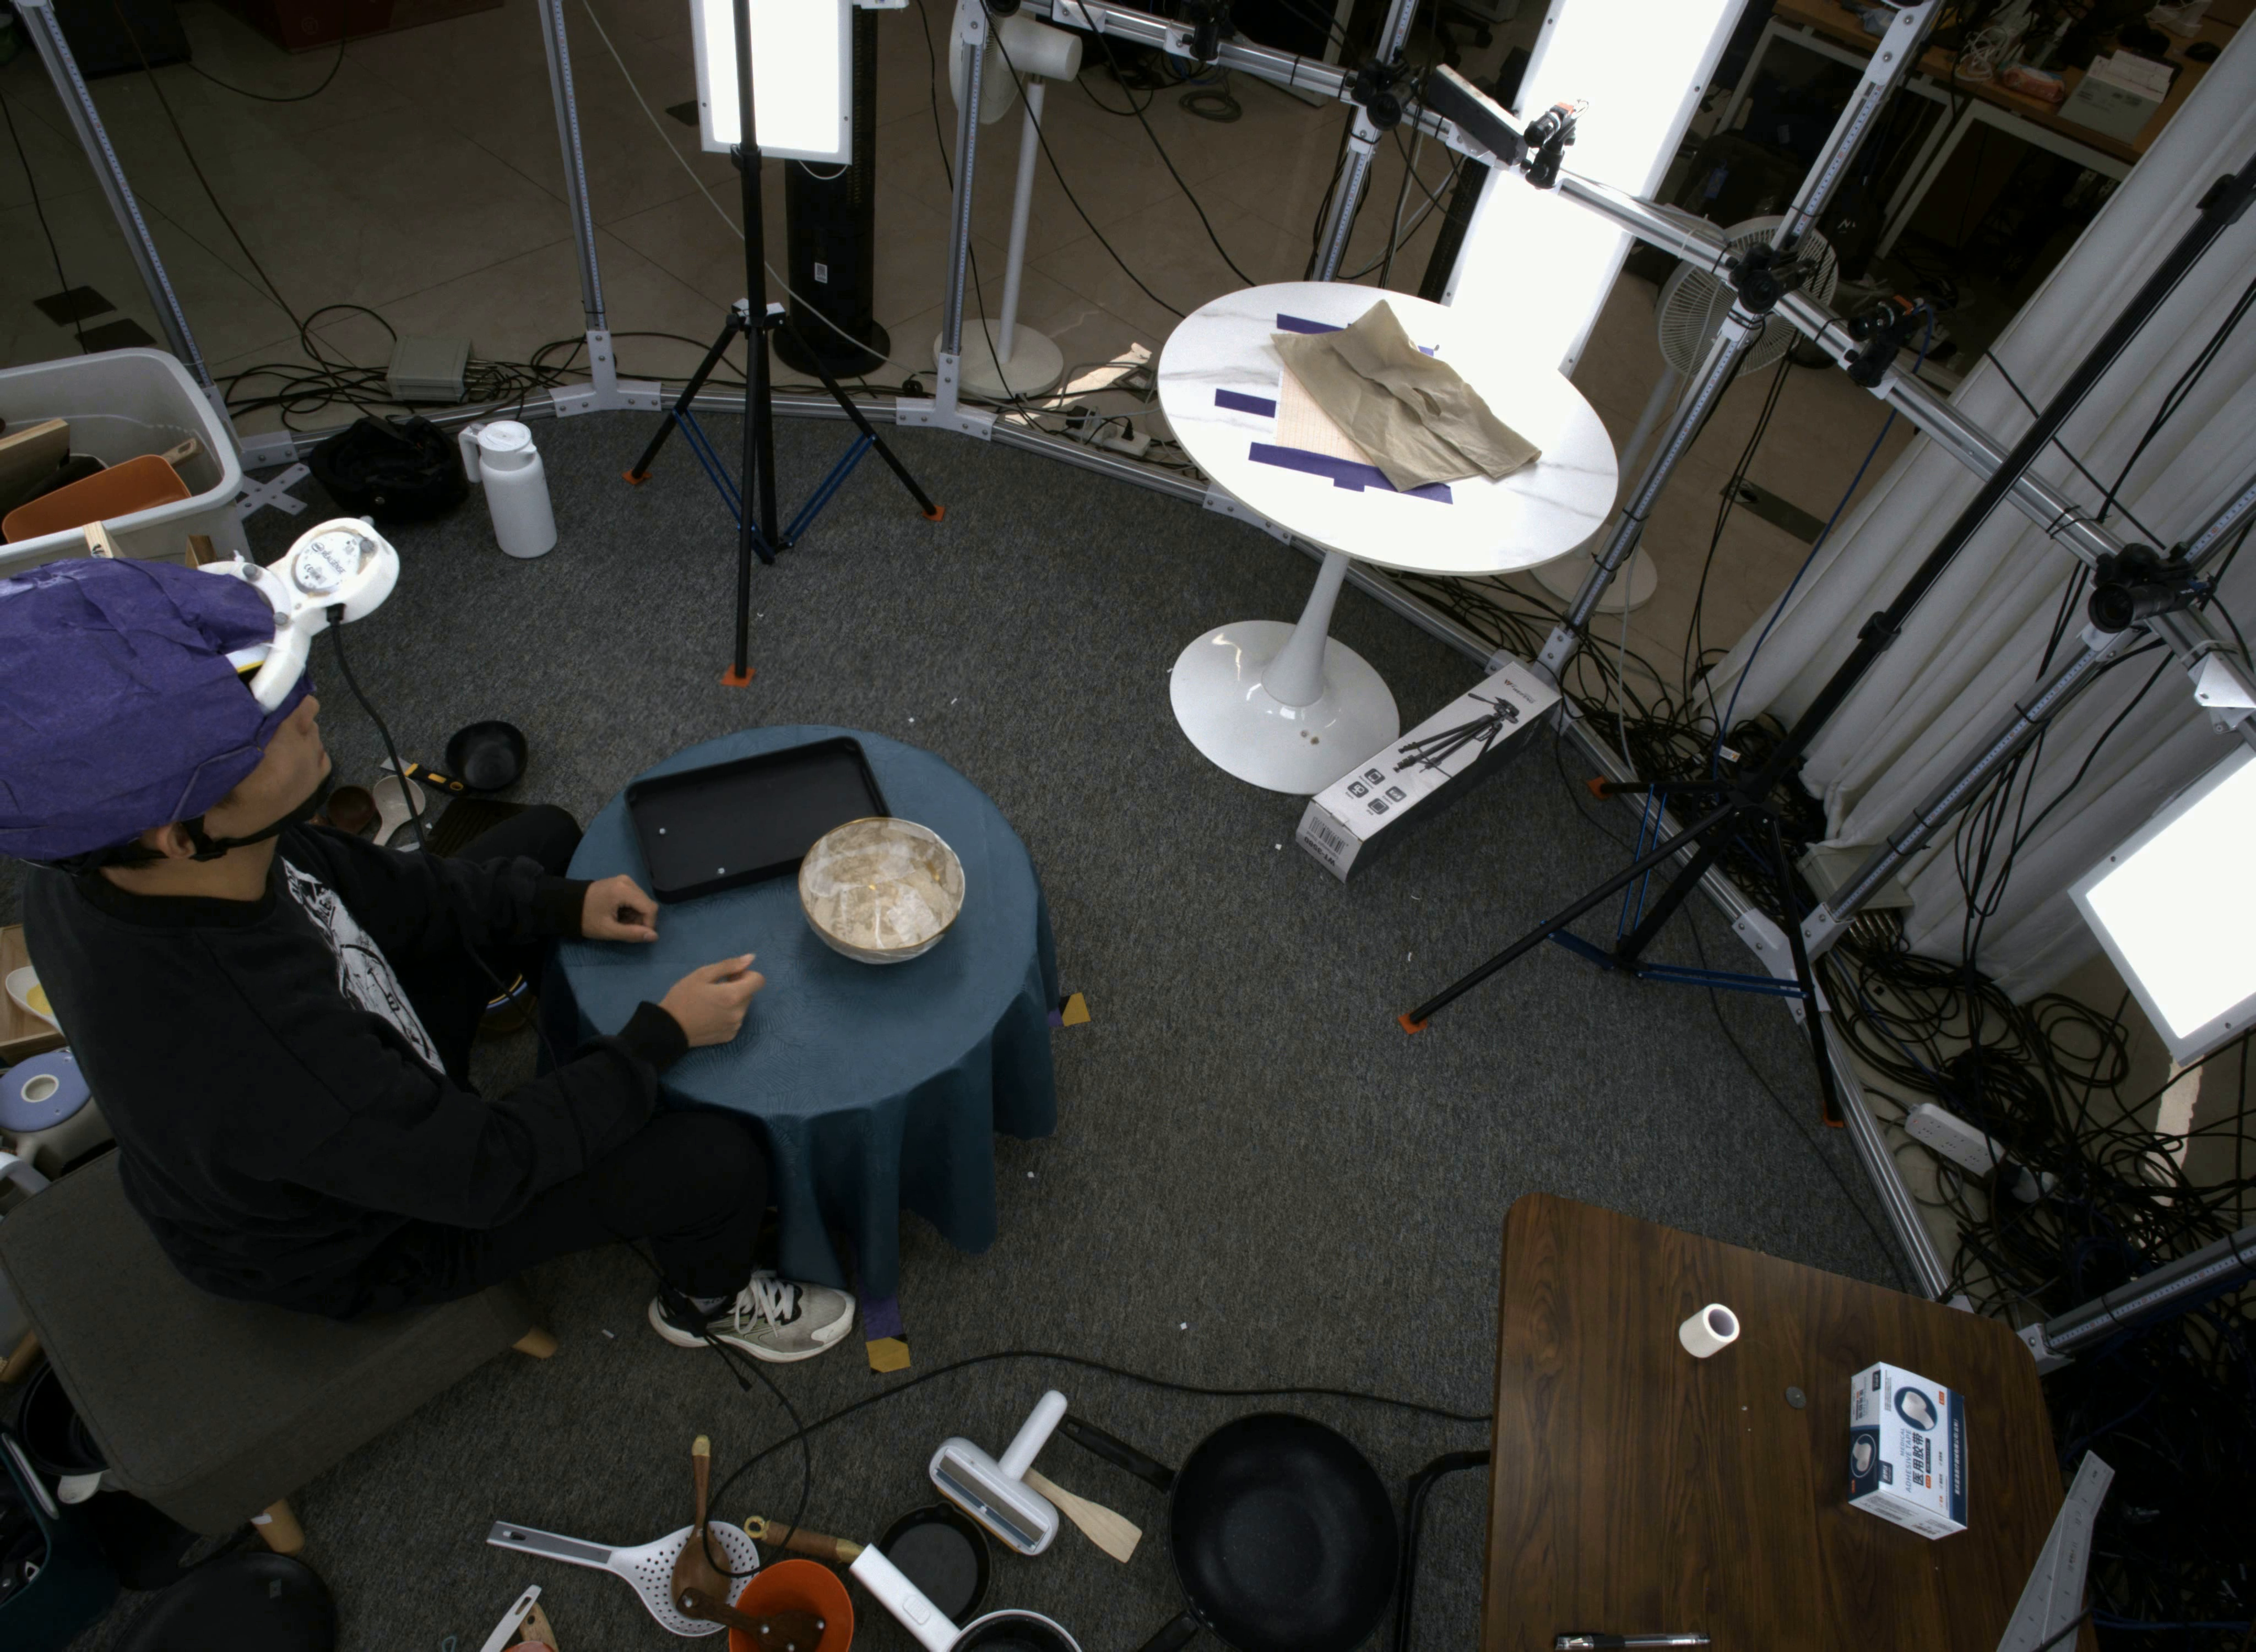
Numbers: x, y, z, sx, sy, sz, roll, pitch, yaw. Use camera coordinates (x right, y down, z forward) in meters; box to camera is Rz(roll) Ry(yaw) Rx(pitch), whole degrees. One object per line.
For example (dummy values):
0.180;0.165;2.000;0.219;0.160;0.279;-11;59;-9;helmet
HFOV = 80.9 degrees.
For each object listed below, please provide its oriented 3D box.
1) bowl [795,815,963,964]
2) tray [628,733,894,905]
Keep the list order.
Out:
-0.314;0.092;1.629;0.215;0.096;0.211;9;53;-10;bowl
-0.481;-0.015;1.700;0.319;0.038;0.180;-15;60;-23;tray
